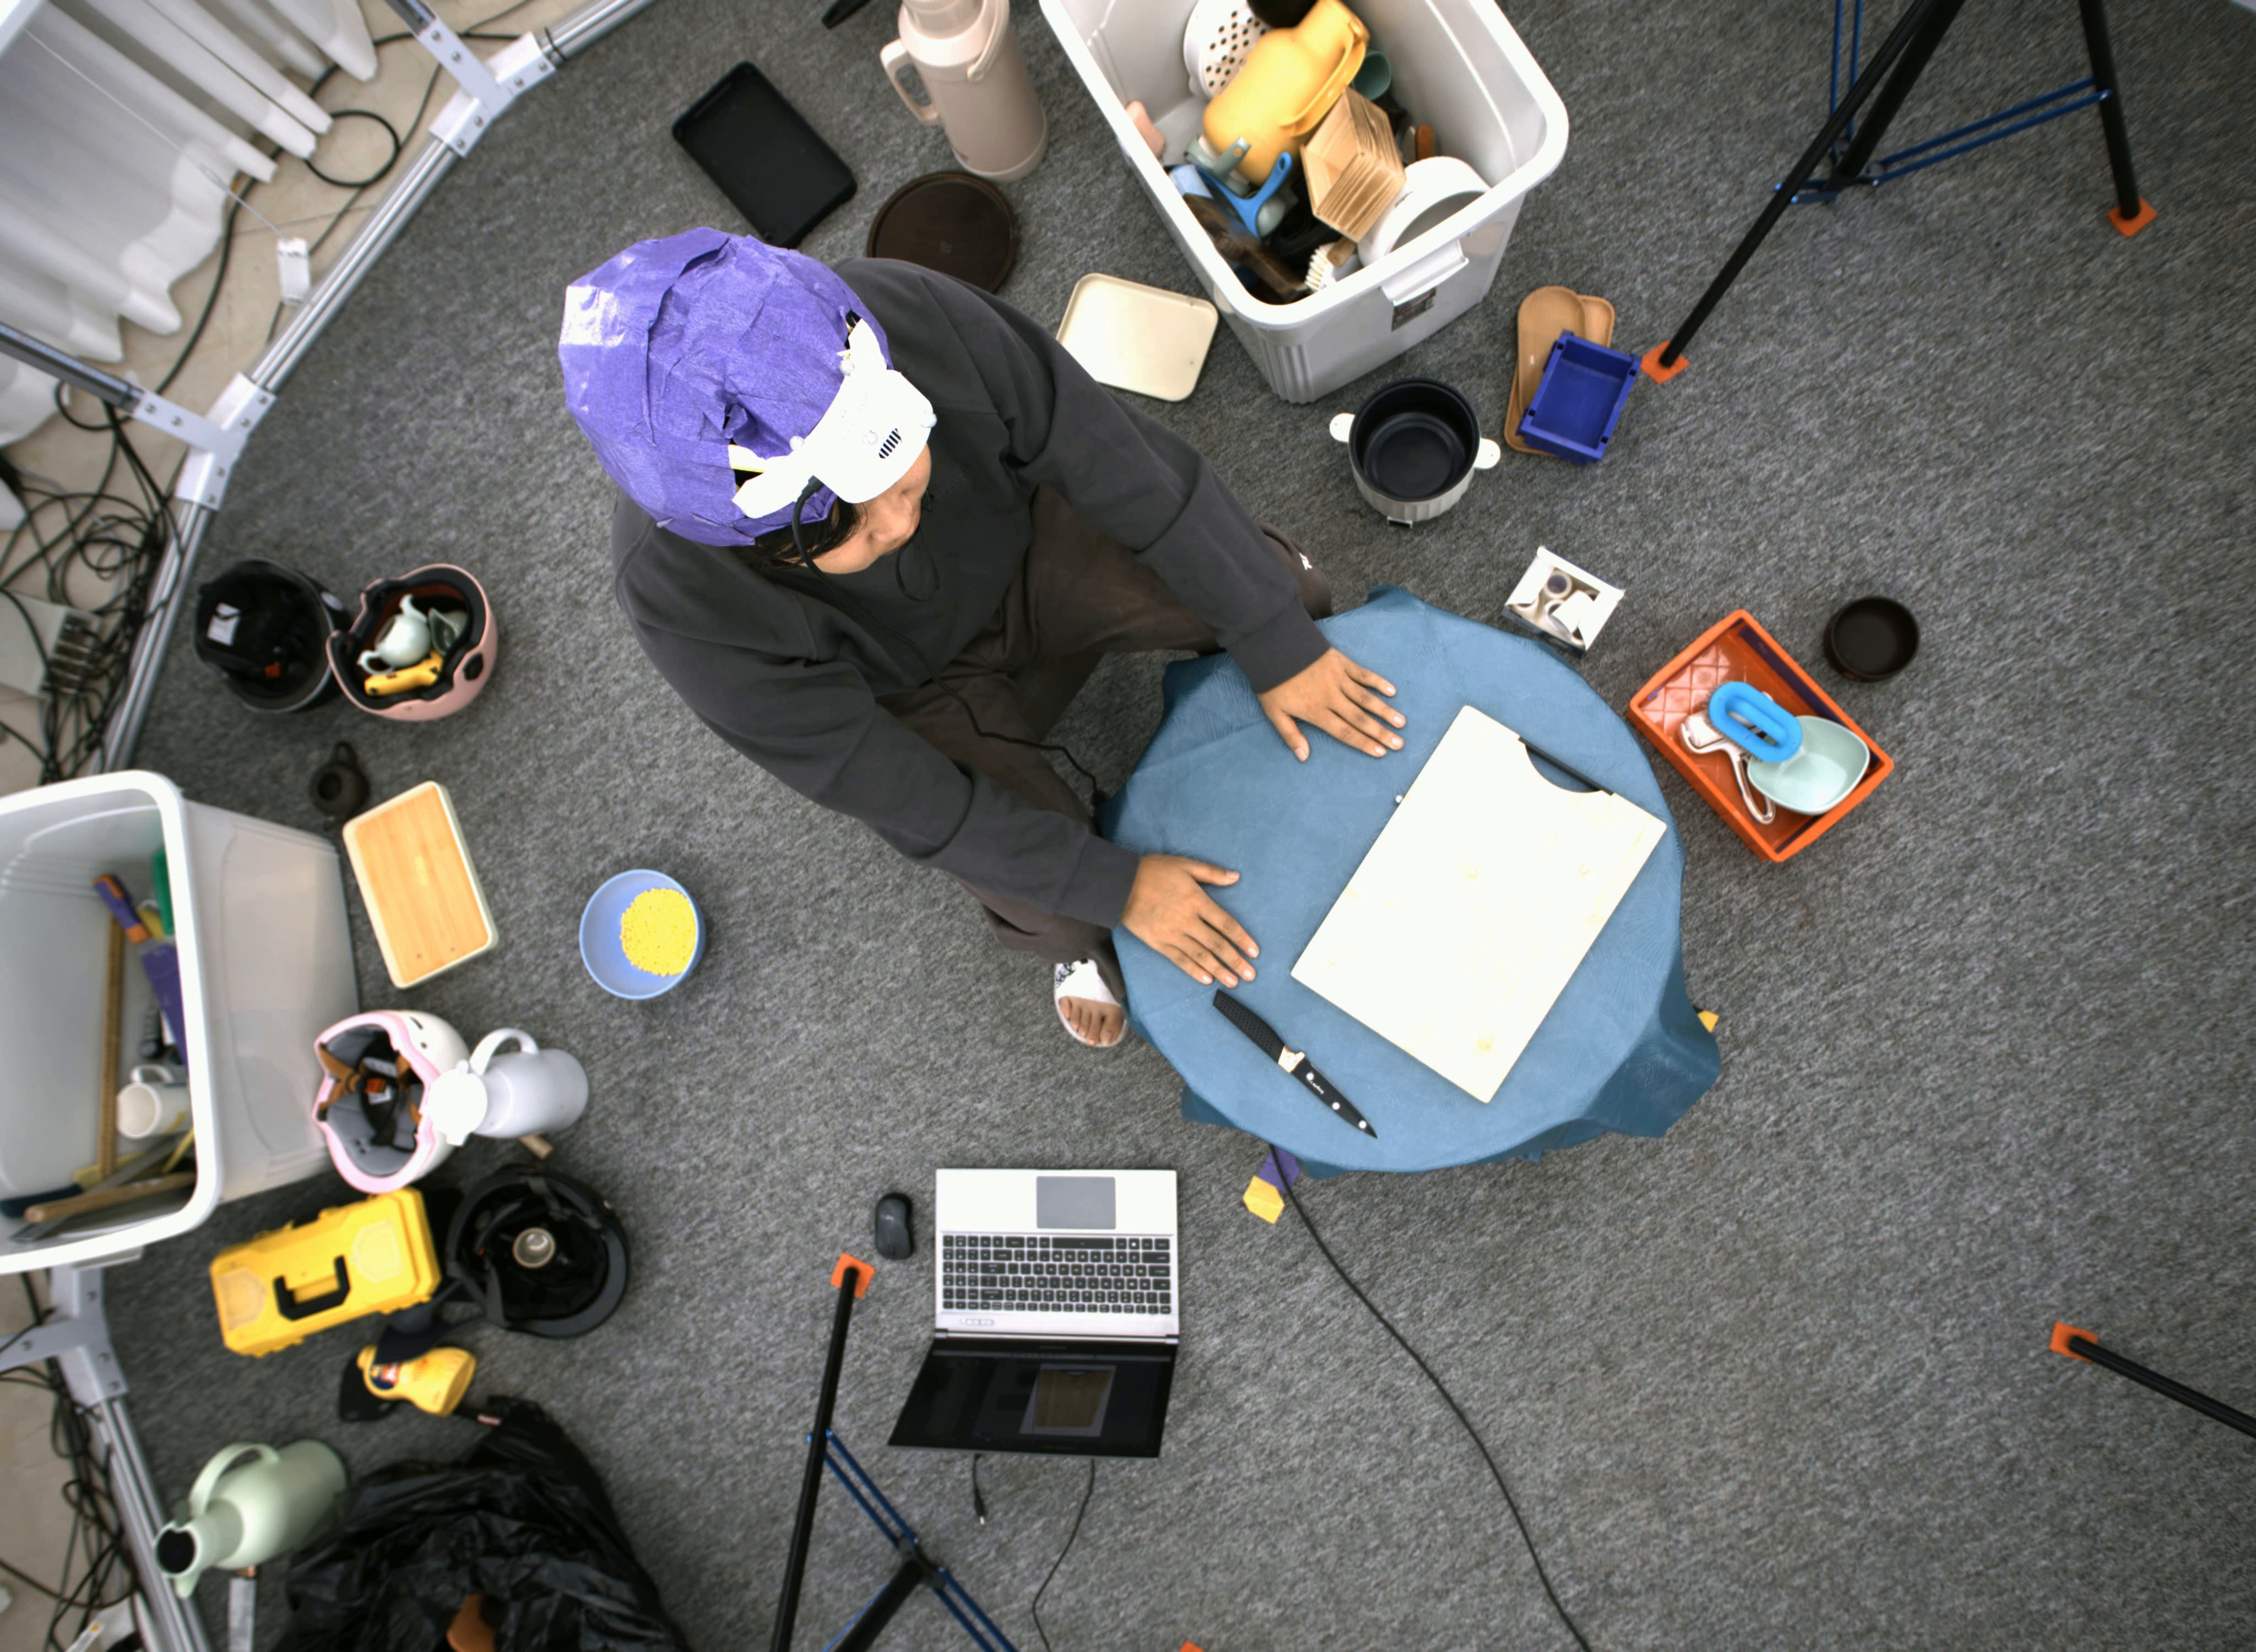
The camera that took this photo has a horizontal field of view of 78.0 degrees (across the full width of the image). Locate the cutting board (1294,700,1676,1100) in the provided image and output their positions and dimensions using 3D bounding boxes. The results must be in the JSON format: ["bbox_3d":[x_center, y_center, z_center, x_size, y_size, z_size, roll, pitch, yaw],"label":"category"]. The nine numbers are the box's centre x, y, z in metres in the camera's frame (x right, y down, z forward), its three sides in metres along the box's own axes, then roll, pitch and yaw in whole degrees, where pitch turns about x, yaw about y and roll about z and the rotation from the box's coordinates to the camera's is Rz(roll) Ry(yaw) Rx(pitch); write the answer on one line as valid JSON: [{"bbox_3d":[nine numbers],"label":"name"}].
[{"bbox_3d":[0.367,0.072,1.434,0.250,0.023,0.349,33,93,11],"label":"cutting board"}]

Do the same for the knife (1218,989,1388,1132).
[{"bbox_3d":[0.184,0.248,1.462,0.224,0.017,0.026,41,88,10],"label":"knife"}]
